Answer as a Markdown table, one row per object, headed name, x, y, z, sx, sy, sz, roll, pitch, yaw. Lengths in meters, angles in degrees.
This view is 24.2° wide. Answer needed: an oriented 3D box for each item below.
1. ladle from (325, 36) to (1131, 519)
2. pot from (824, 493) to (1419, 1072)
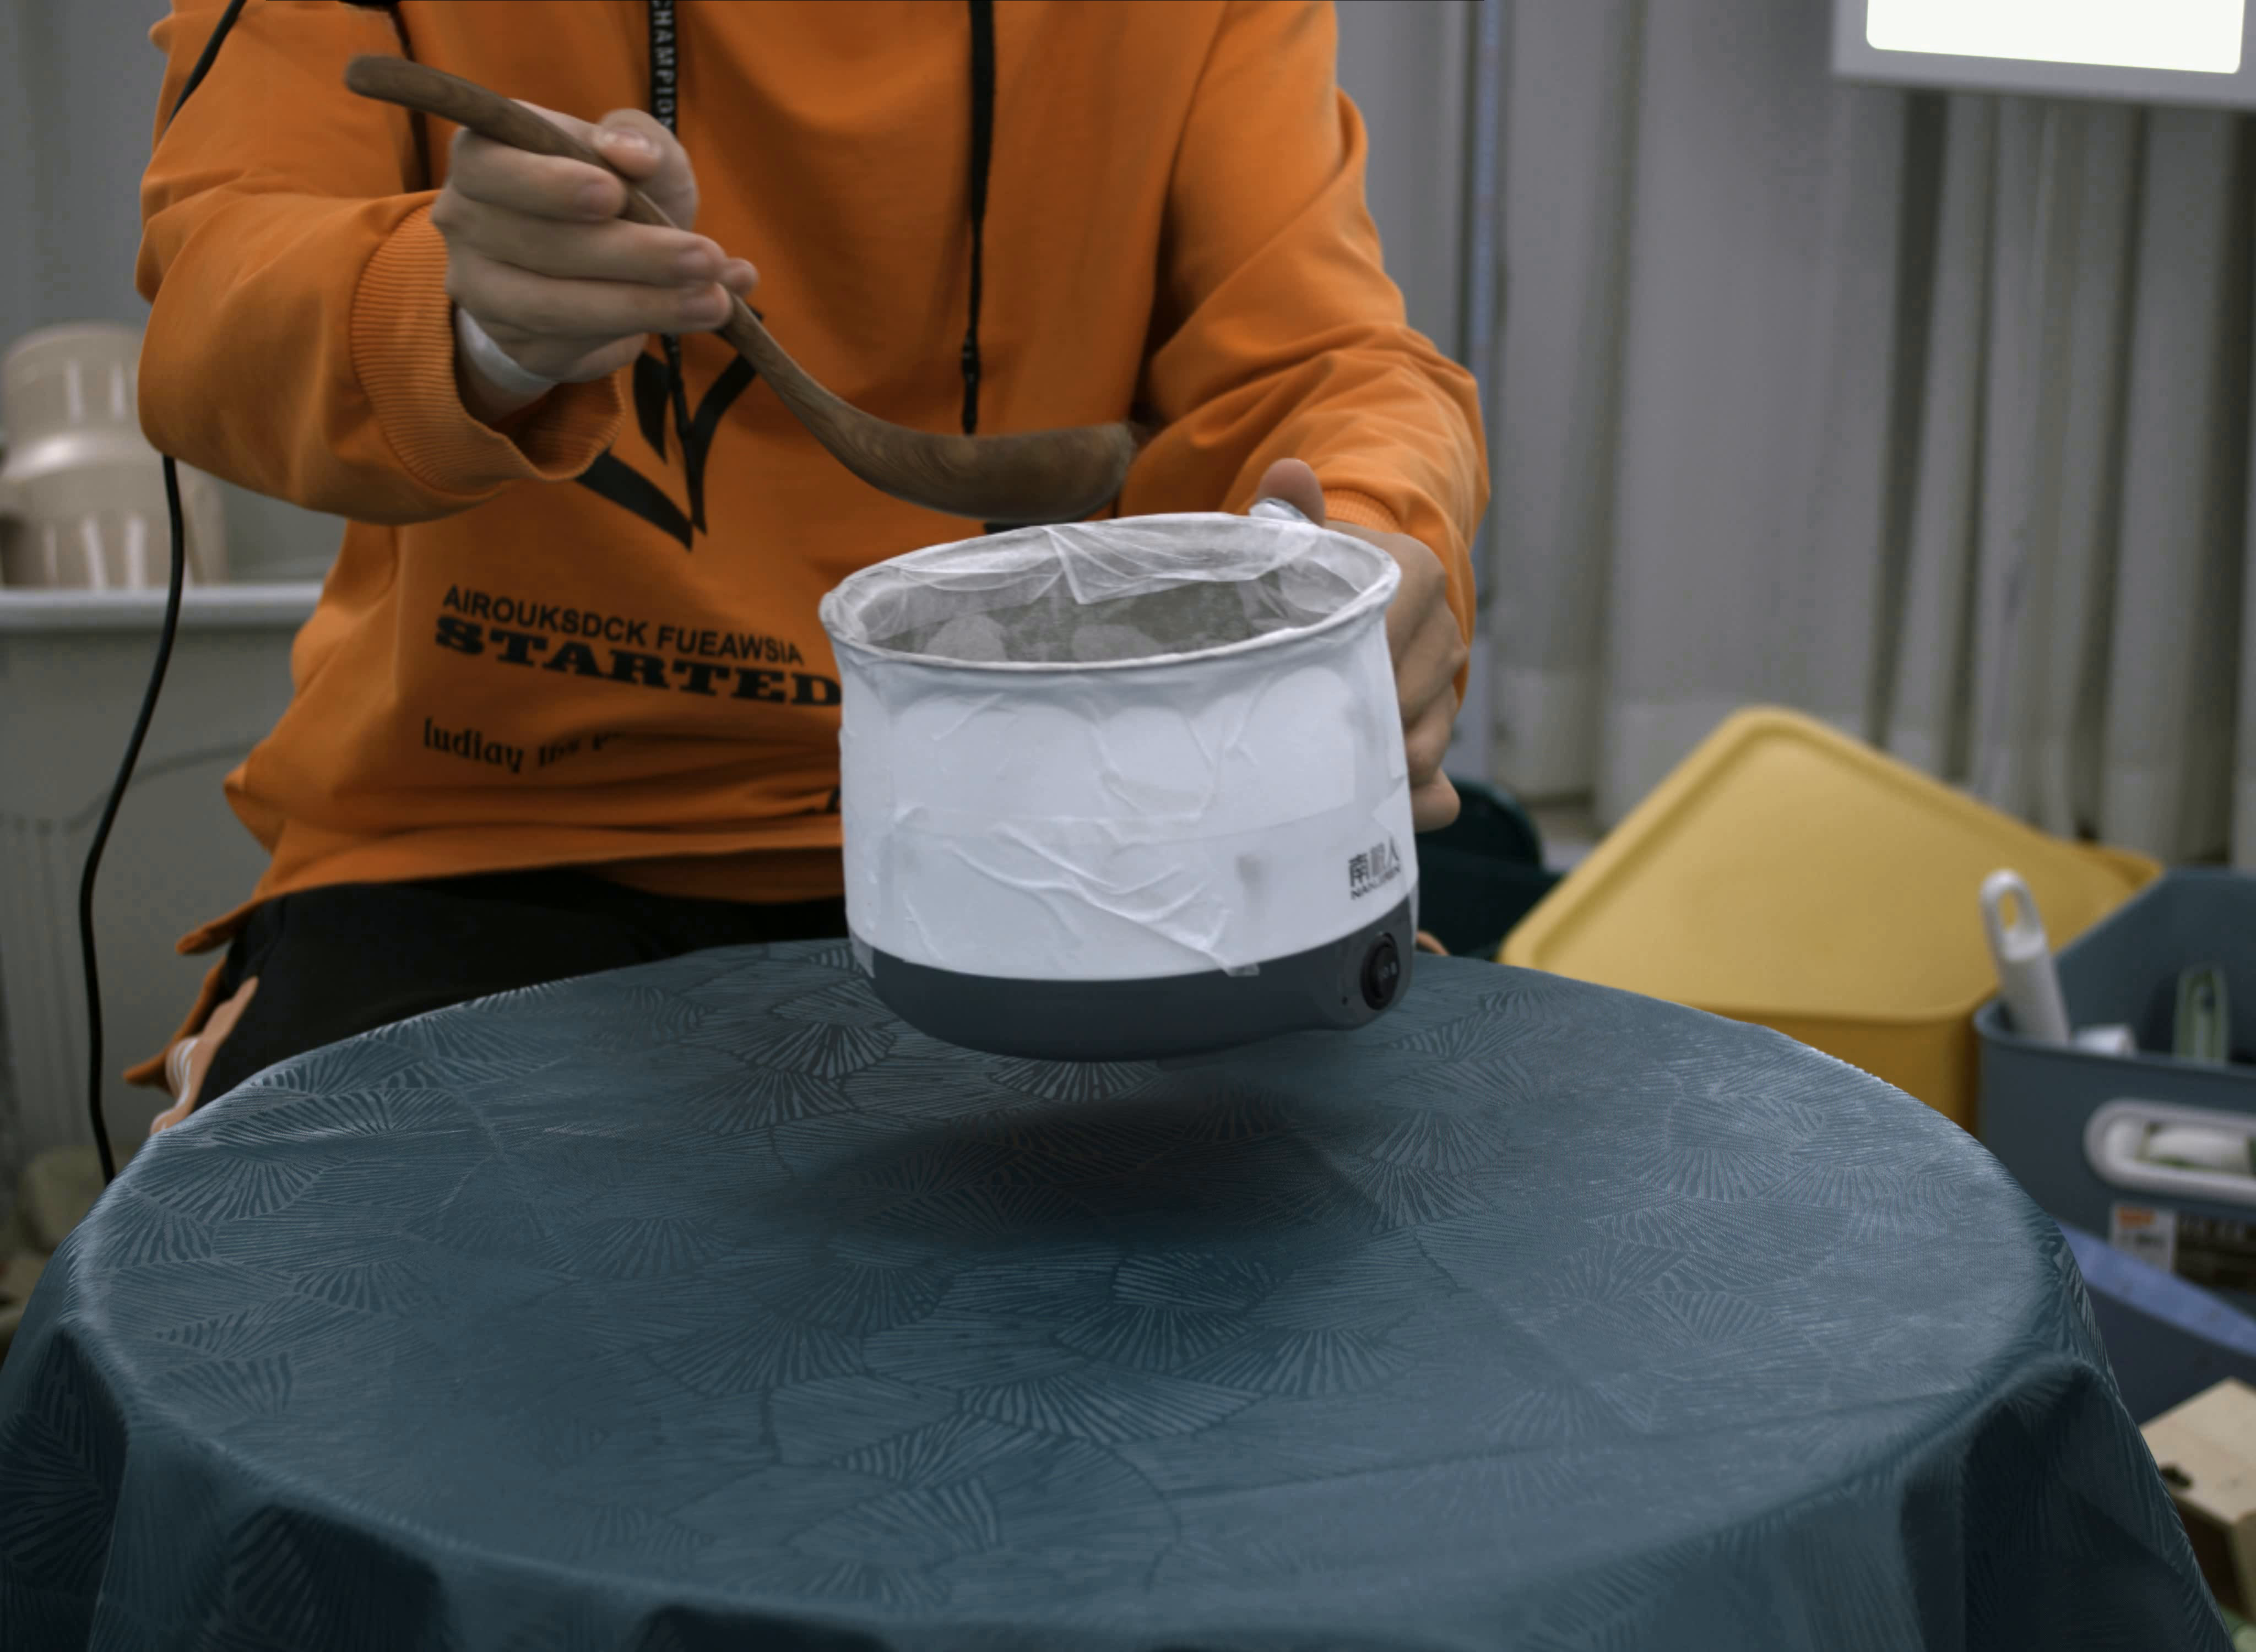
| name | x | y | z | sx | sy | sz | roll | pitch | yaw |
| --- | --- | --- | --- | --- | --- | --- | --- | --- | --- |
| ladle | -0.115 | -0.171 | 1.553 | 0.261 | 0.065 | 0.076 | 37 | -7 | -8 |
| pot | 0.013 | -0.020 | 1.631 | 0.176 | 0.138 | 0.234 | 7 | 20 | 29 |
